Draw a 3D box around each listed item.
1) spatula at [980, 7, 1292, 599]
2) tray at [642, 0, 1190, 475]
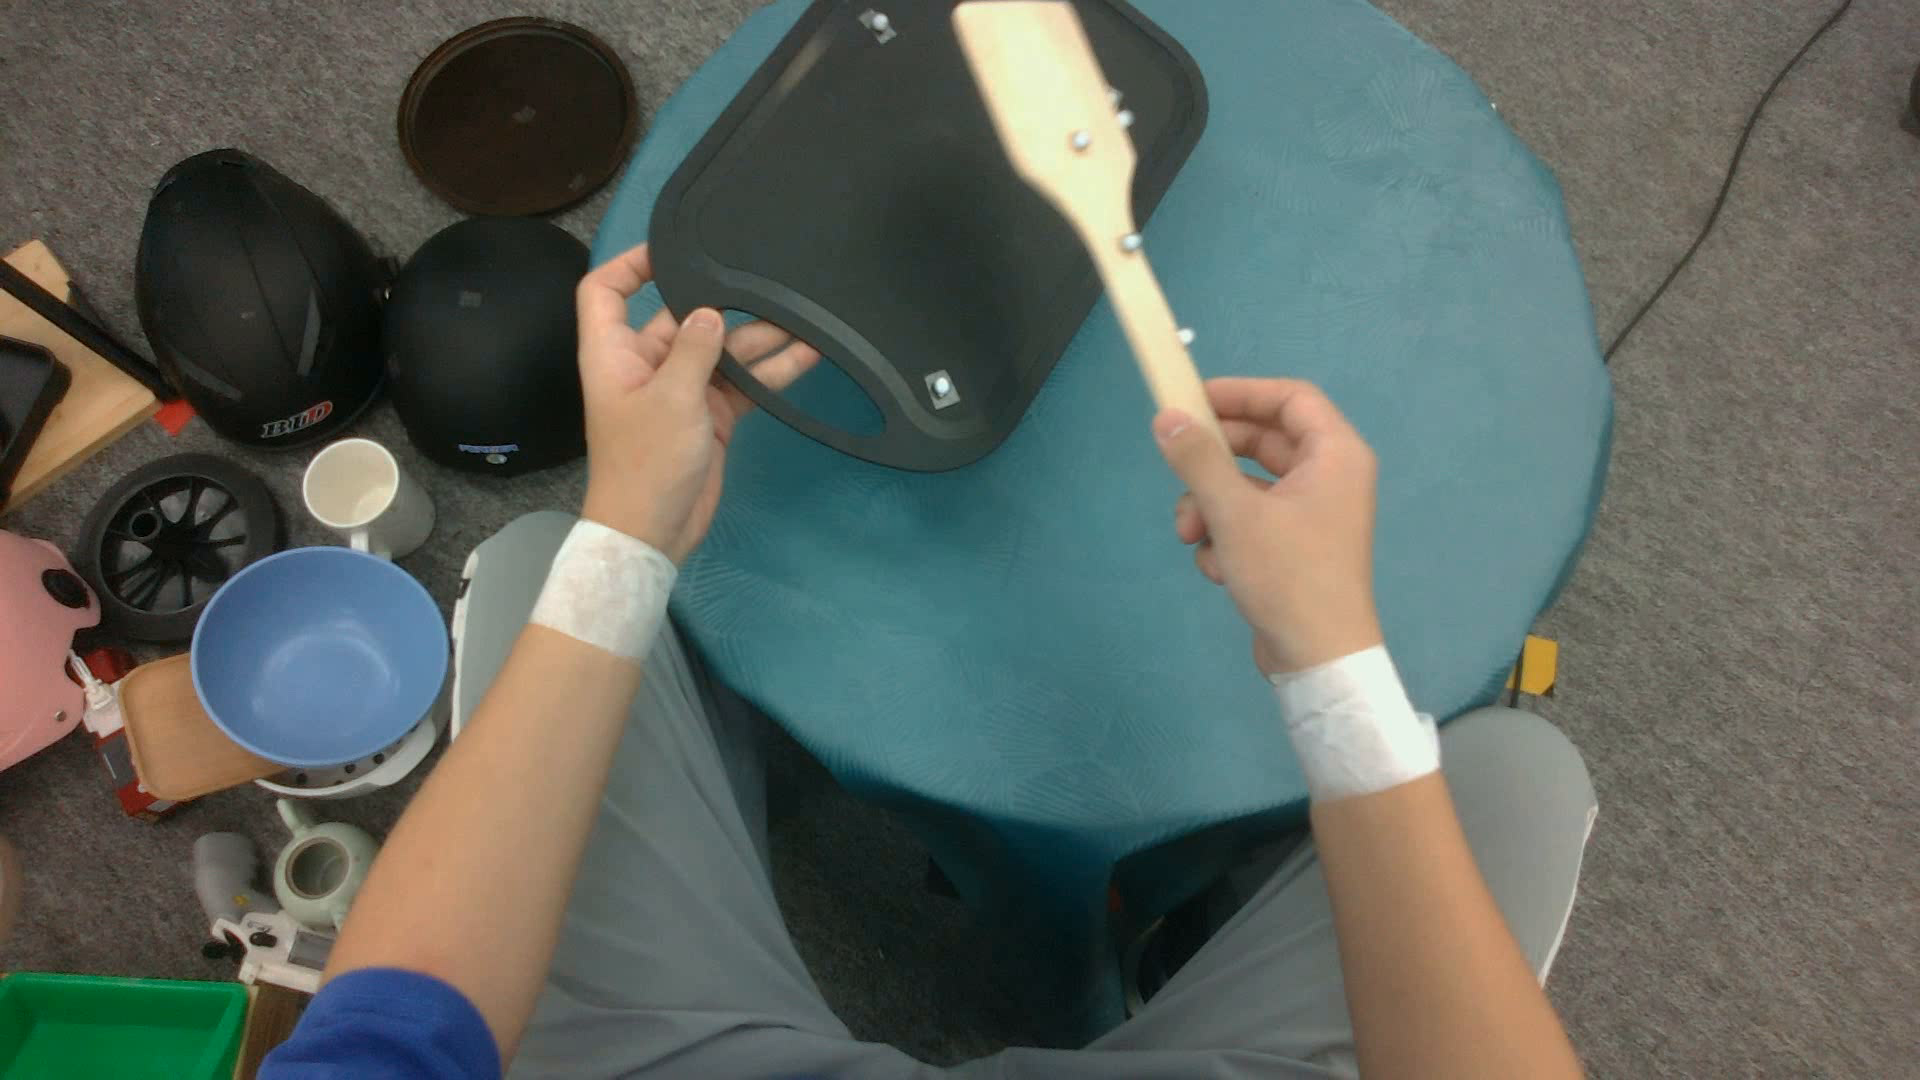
[{"bbox_3d":[0.088,-0.111,0.626,0.072,0.010,0.293,-18,83,-33],"label":"spatula"},{"bbox_3d":[-0.016,-0.190,0.731,0.211,0.010,0.326,34,69,-7],"label":"tray"}]
